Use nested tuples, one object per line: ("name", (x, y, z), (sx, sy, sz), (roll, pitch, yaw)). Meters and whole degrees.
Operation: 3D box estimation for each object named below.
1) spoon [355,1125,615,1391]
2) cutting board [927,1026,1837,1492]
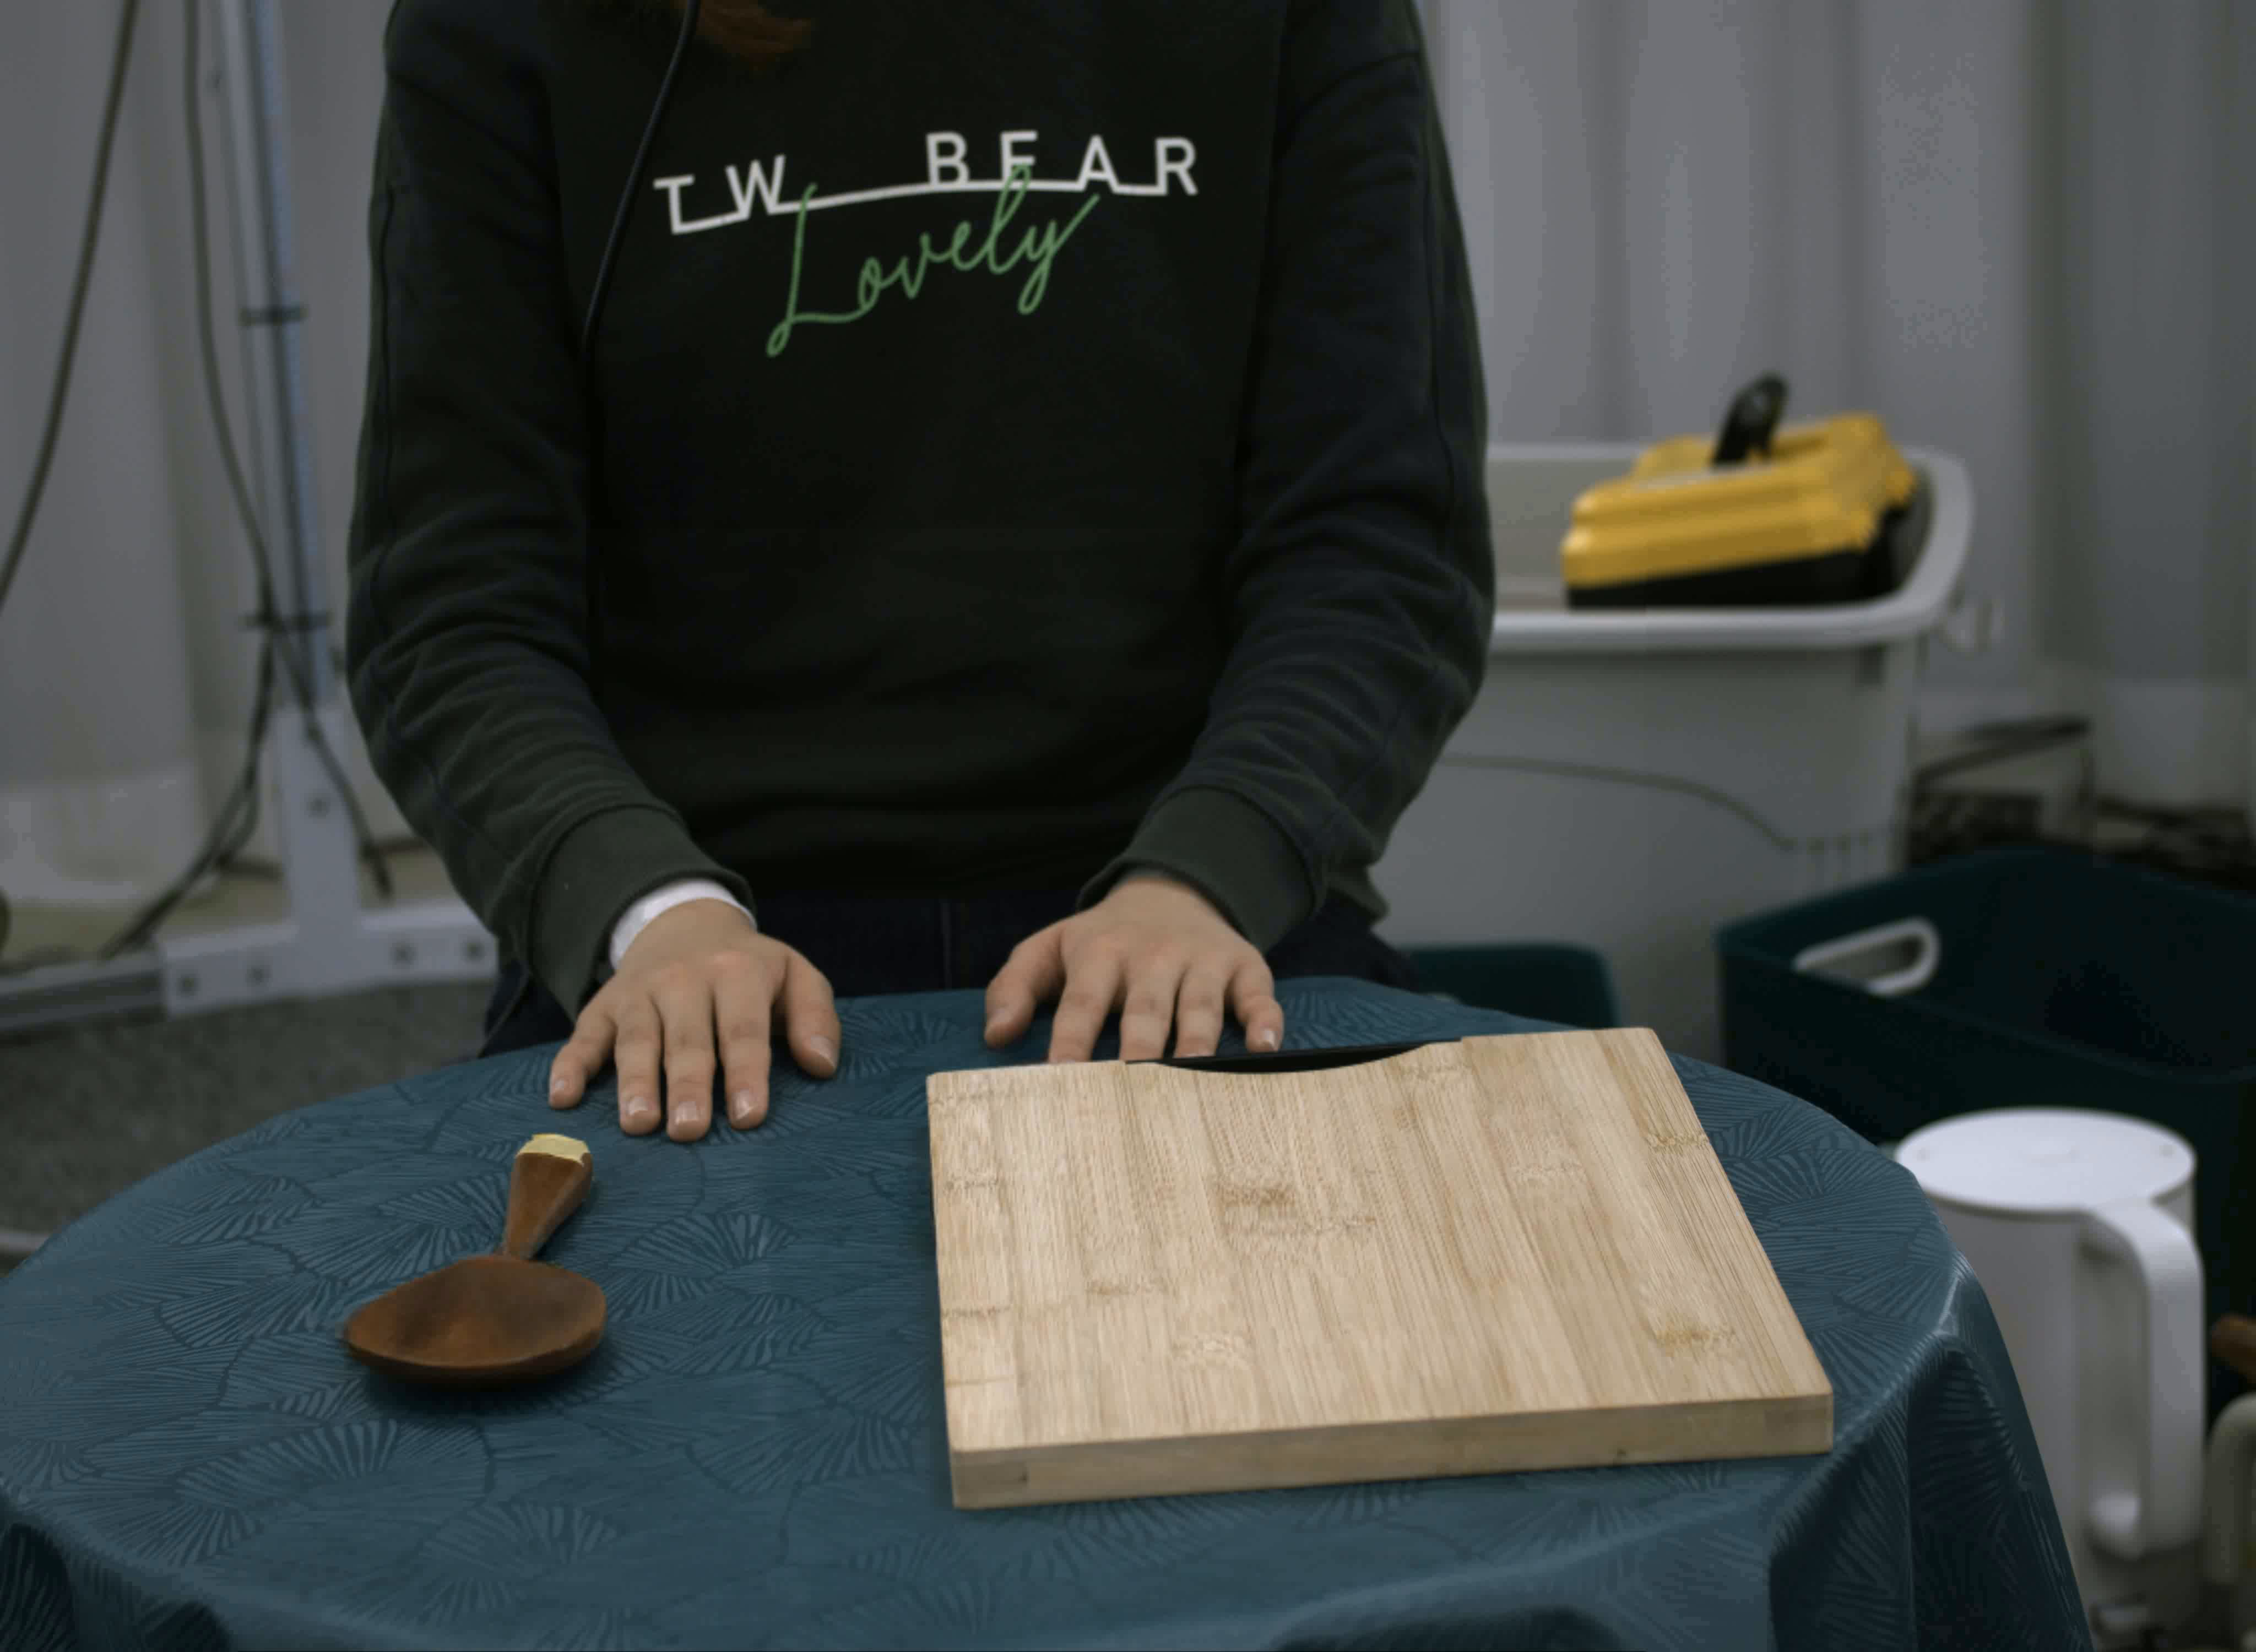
("spoon", (-0.185, 0.132, 1.652), (0.075, 0.017, 0.217), (-4, 15, 3))
("cutting board", (0.063, 0.124, 1.636), (0.250, 0.023, 0.351), (-3, 15, -3))
